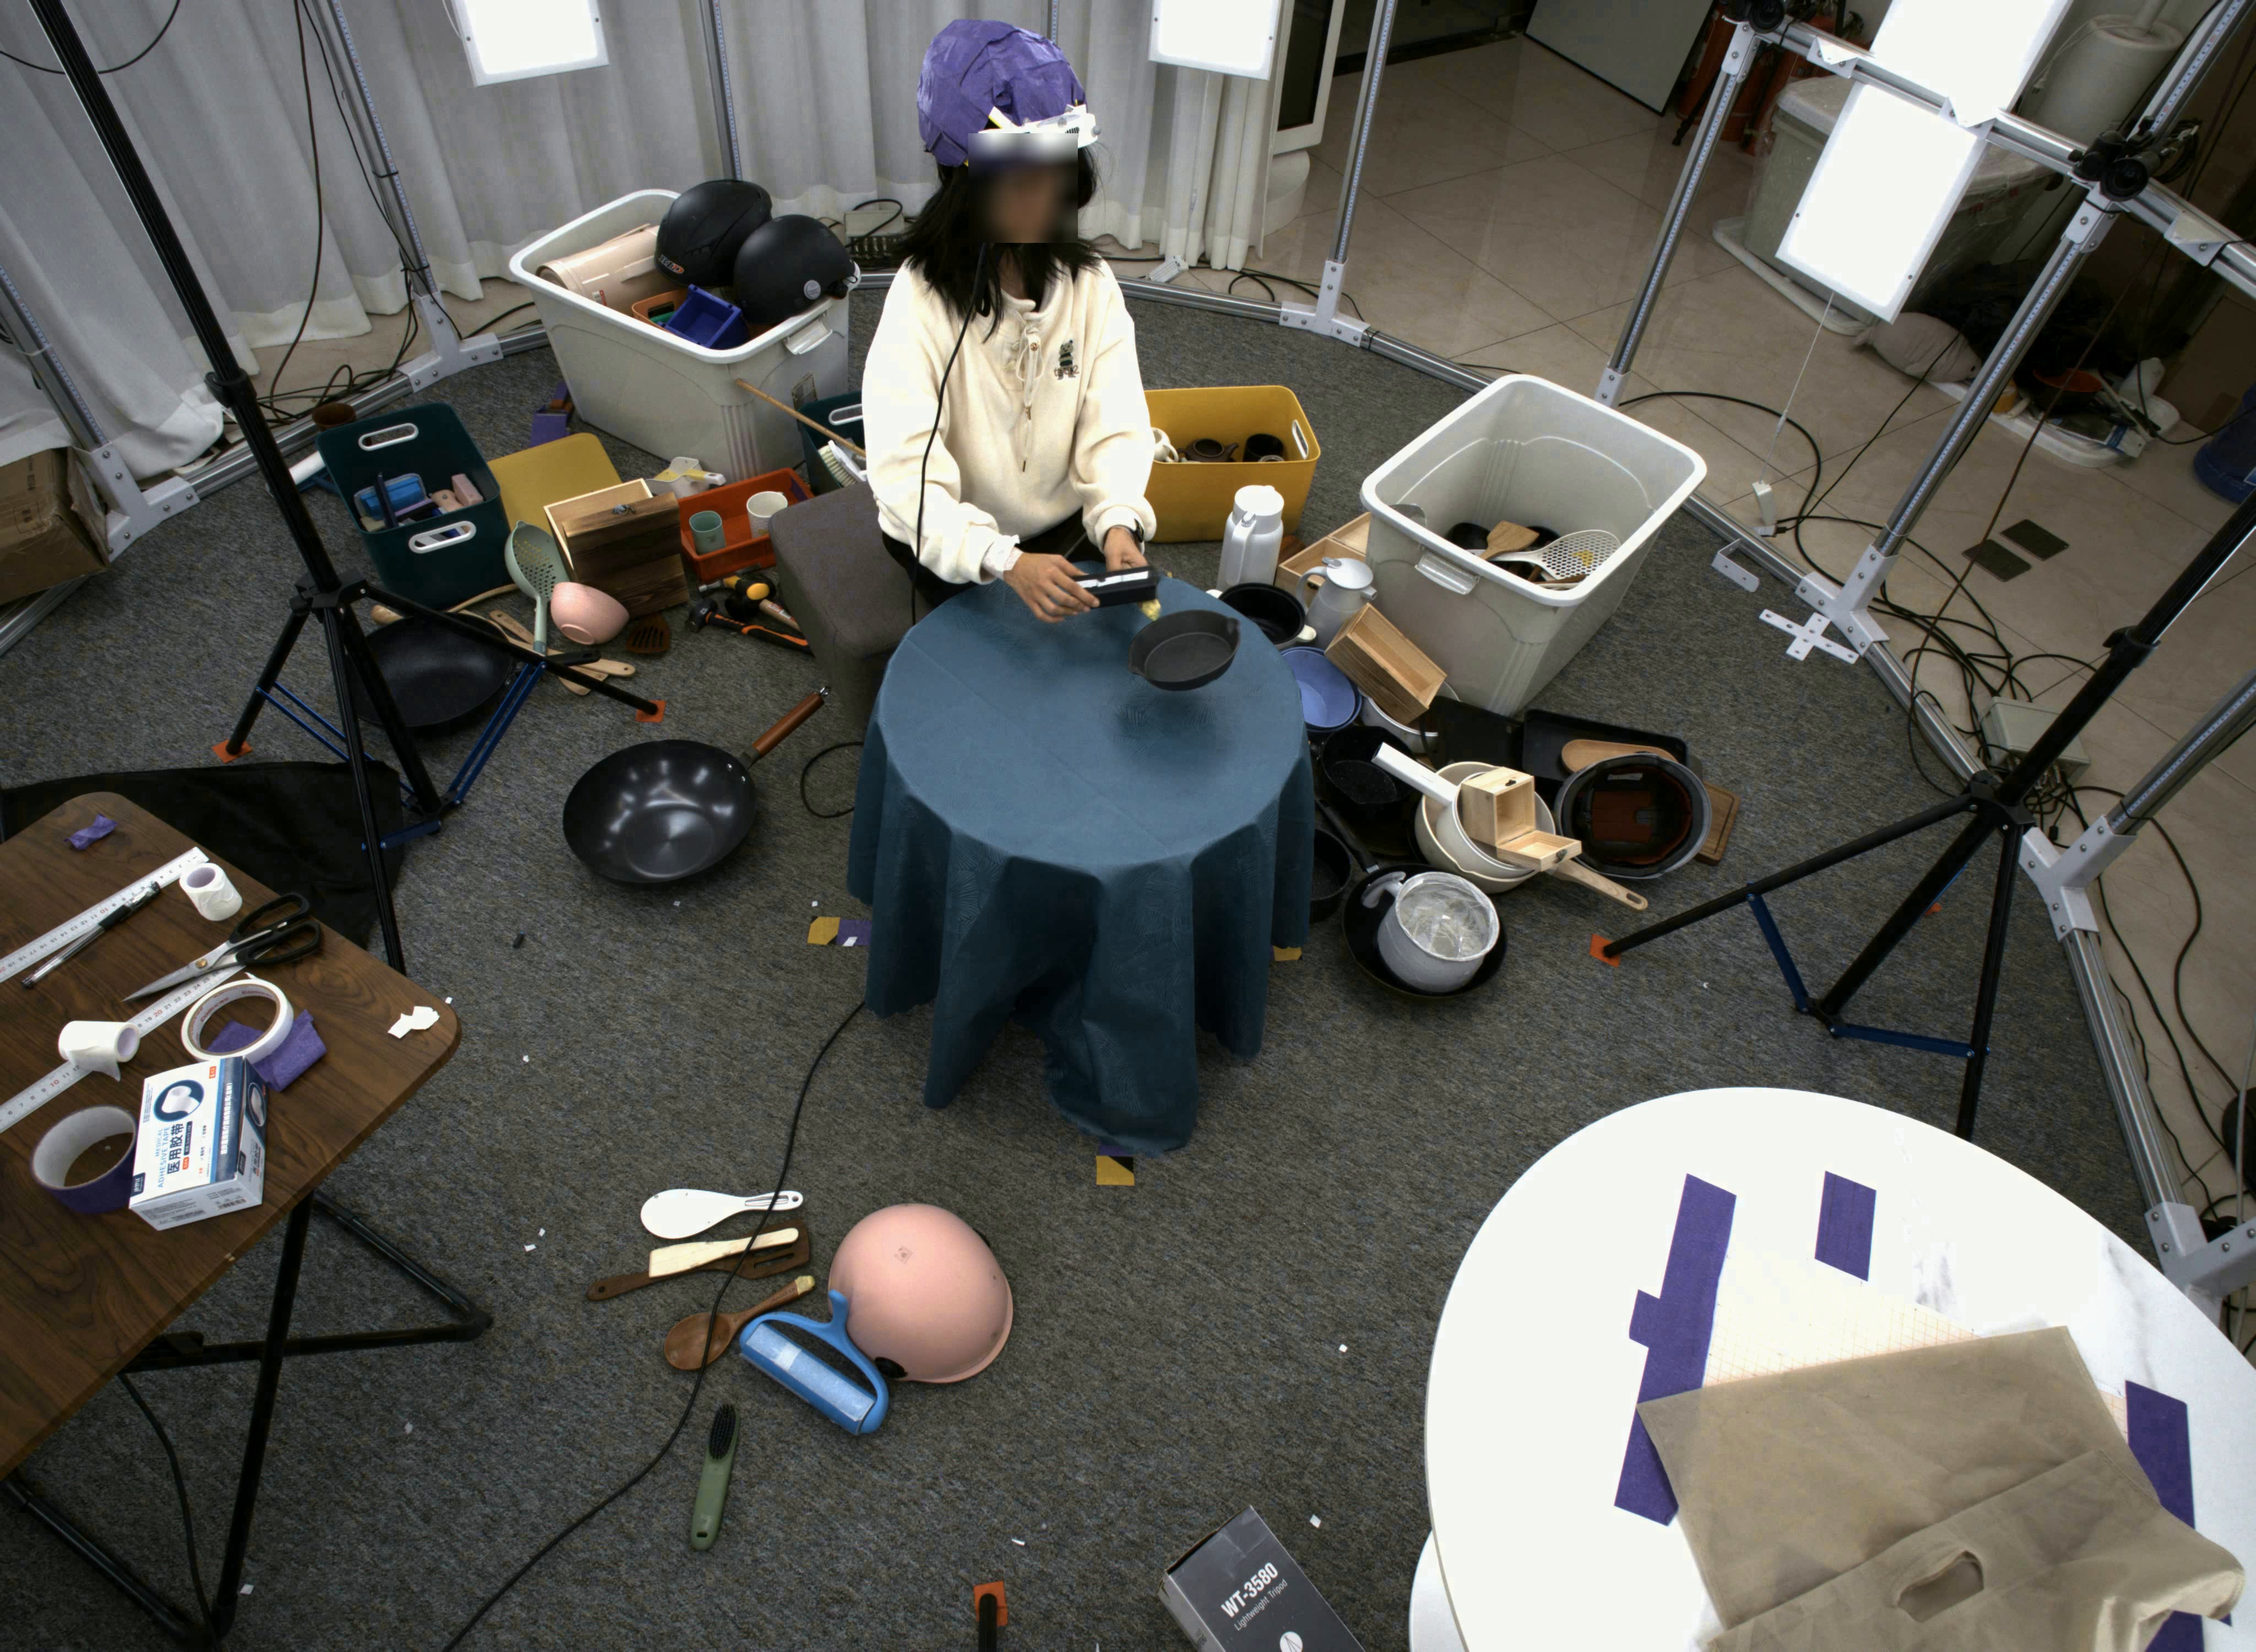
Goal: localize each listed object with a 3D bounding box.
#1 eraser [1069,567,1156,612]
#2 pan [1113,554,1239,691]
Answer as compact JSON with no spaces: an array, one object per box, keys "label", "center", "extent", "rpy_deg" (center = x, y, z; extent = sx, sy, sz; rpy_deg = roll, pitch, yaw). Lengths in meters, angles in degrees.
[{"label":"eraser","center":[-0.020,-0.341,1.850],"extent":[0.125,0.030,0.055],"rpy_deg":[-7,43,8]},{"label":"pan","center":[0.047,-0.295,1.829],"extent":[0.169,0.048,0.332],"rpy_deg":[-24,43,-6]}]
